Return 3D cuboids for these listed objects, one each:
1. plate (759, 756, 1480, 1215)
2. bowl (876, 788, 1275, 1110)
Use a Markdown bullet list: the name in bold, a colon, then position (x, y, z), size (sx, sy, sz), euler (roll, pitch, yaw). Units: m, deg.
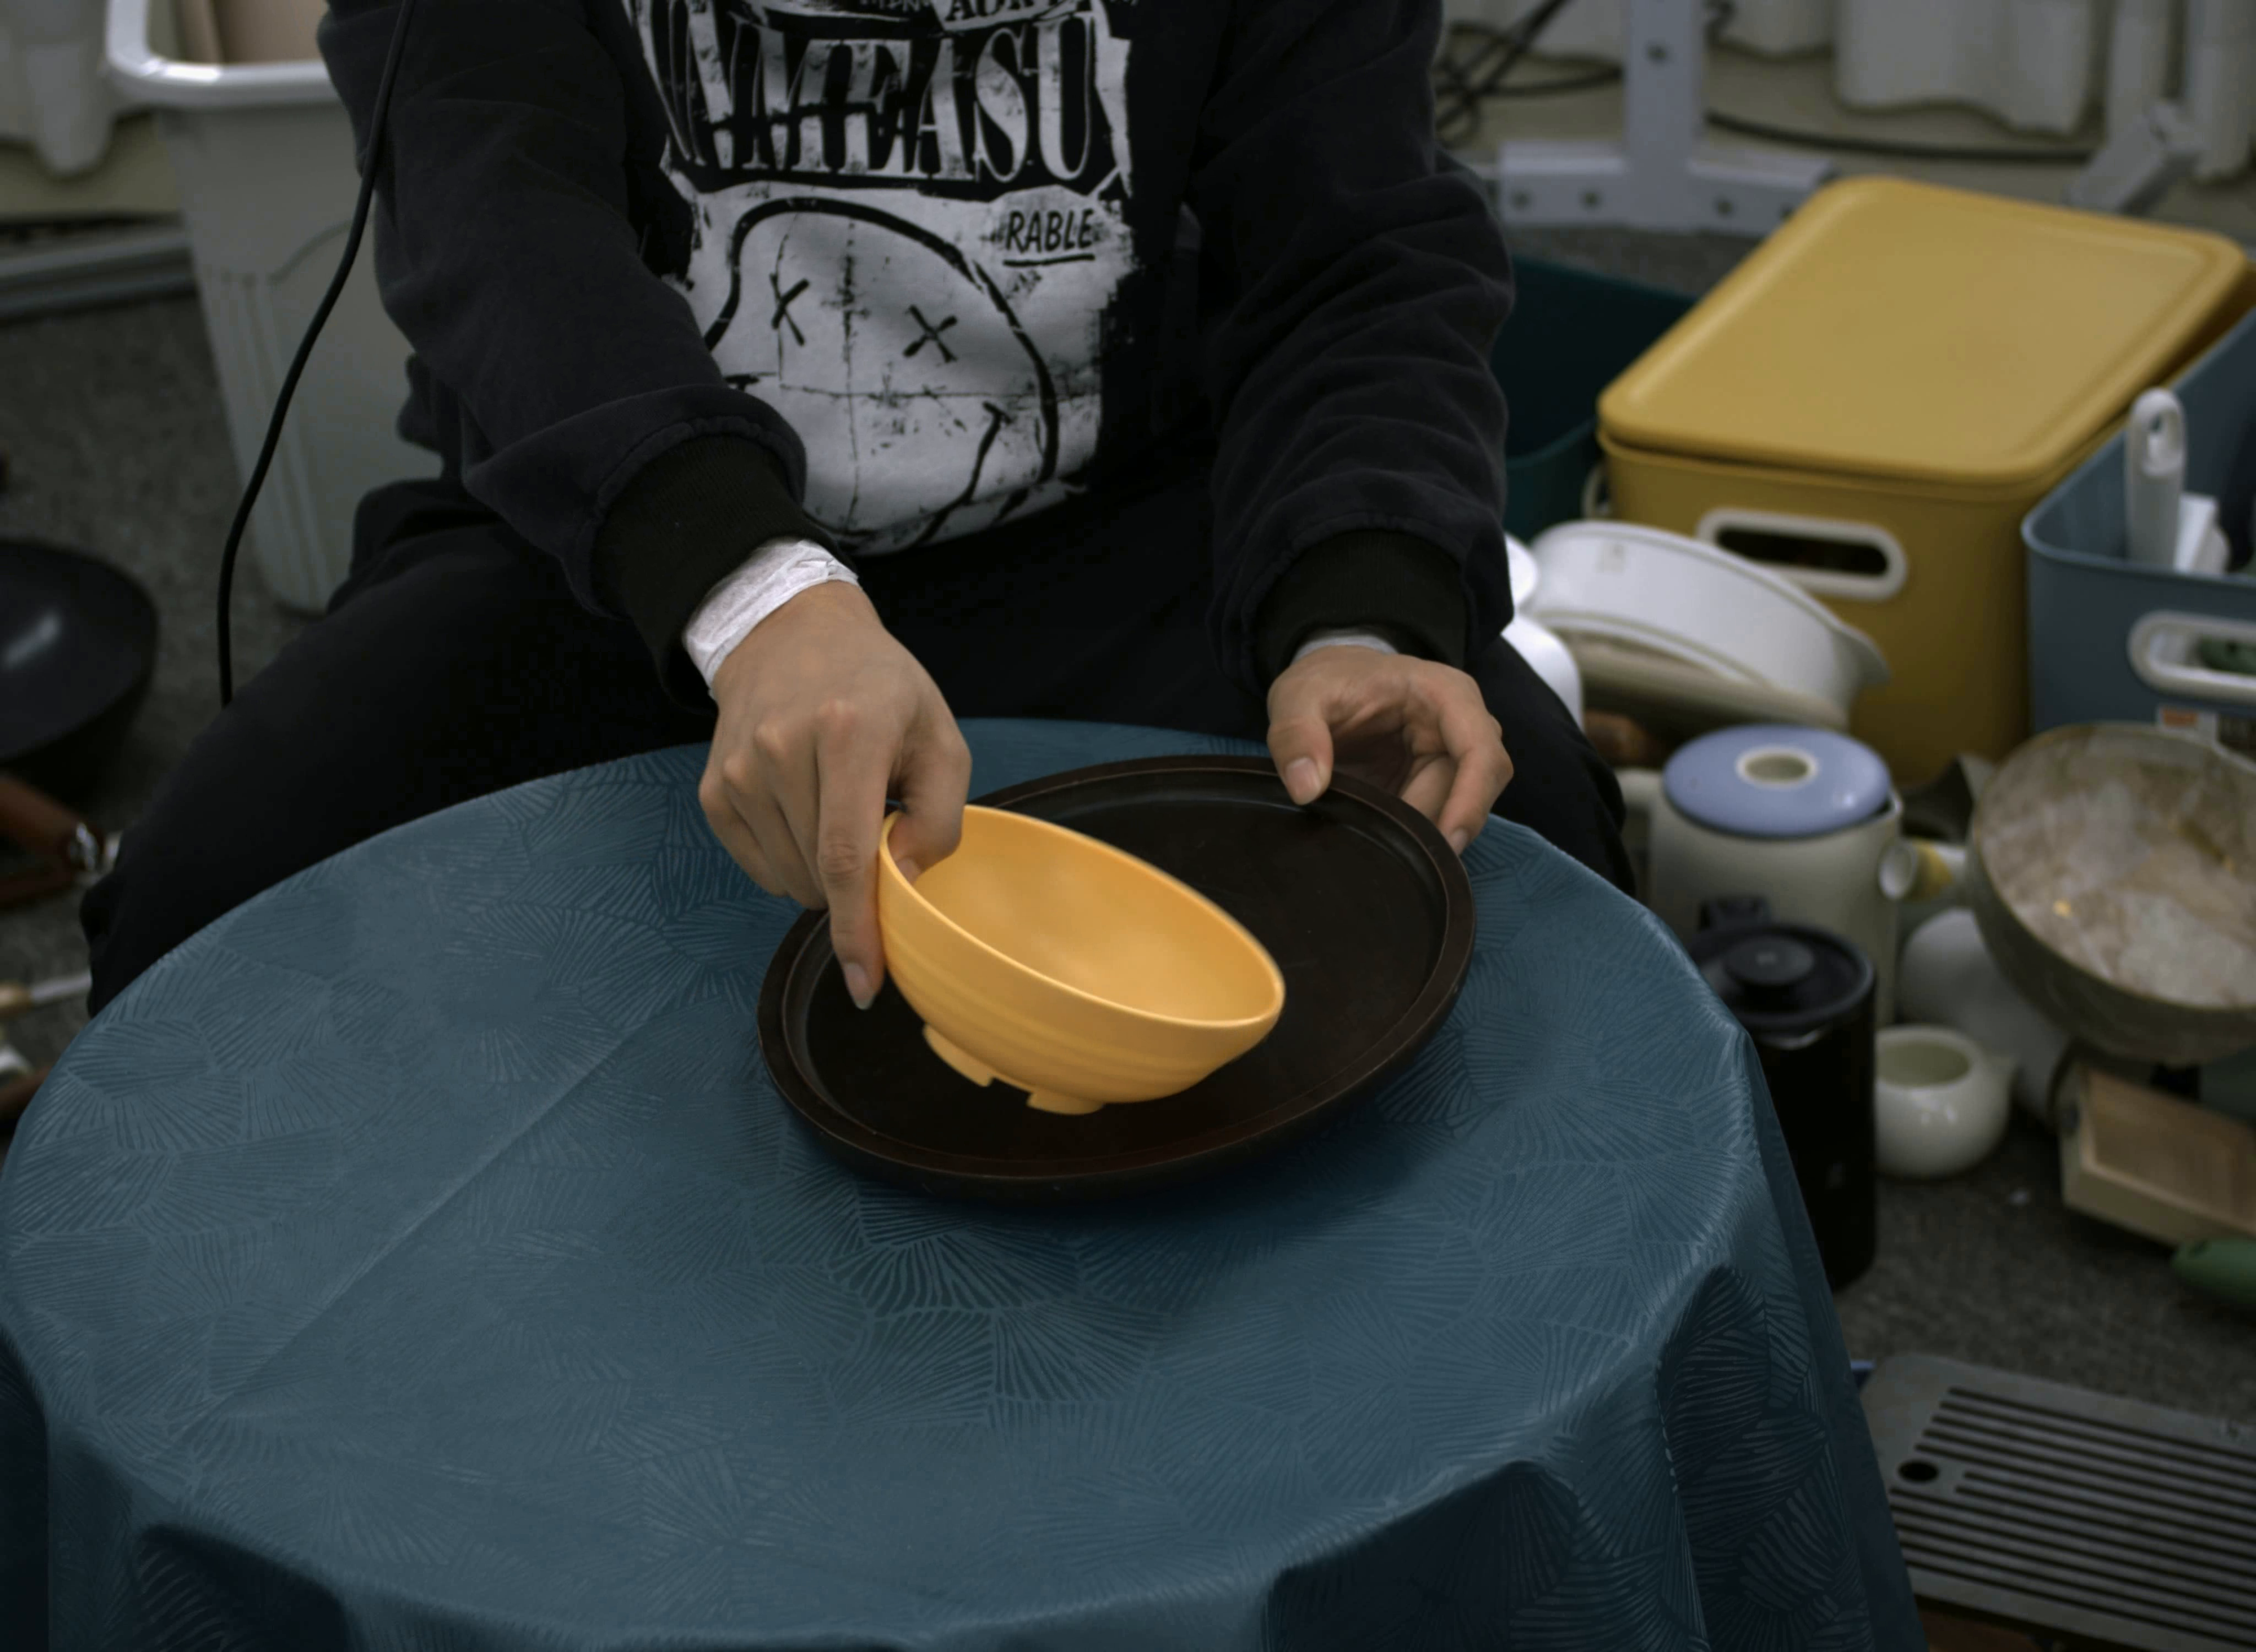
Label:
- **plate**: position (-0.002, 0.053, 1.935), size (0.253, 0.029, 0.259), euler (-10, 31, 6)
- **bowl**: position (-0.027, 0.050, 1.843), size (0.145, 0.059, 0.147), euler (26, 17, -8)
